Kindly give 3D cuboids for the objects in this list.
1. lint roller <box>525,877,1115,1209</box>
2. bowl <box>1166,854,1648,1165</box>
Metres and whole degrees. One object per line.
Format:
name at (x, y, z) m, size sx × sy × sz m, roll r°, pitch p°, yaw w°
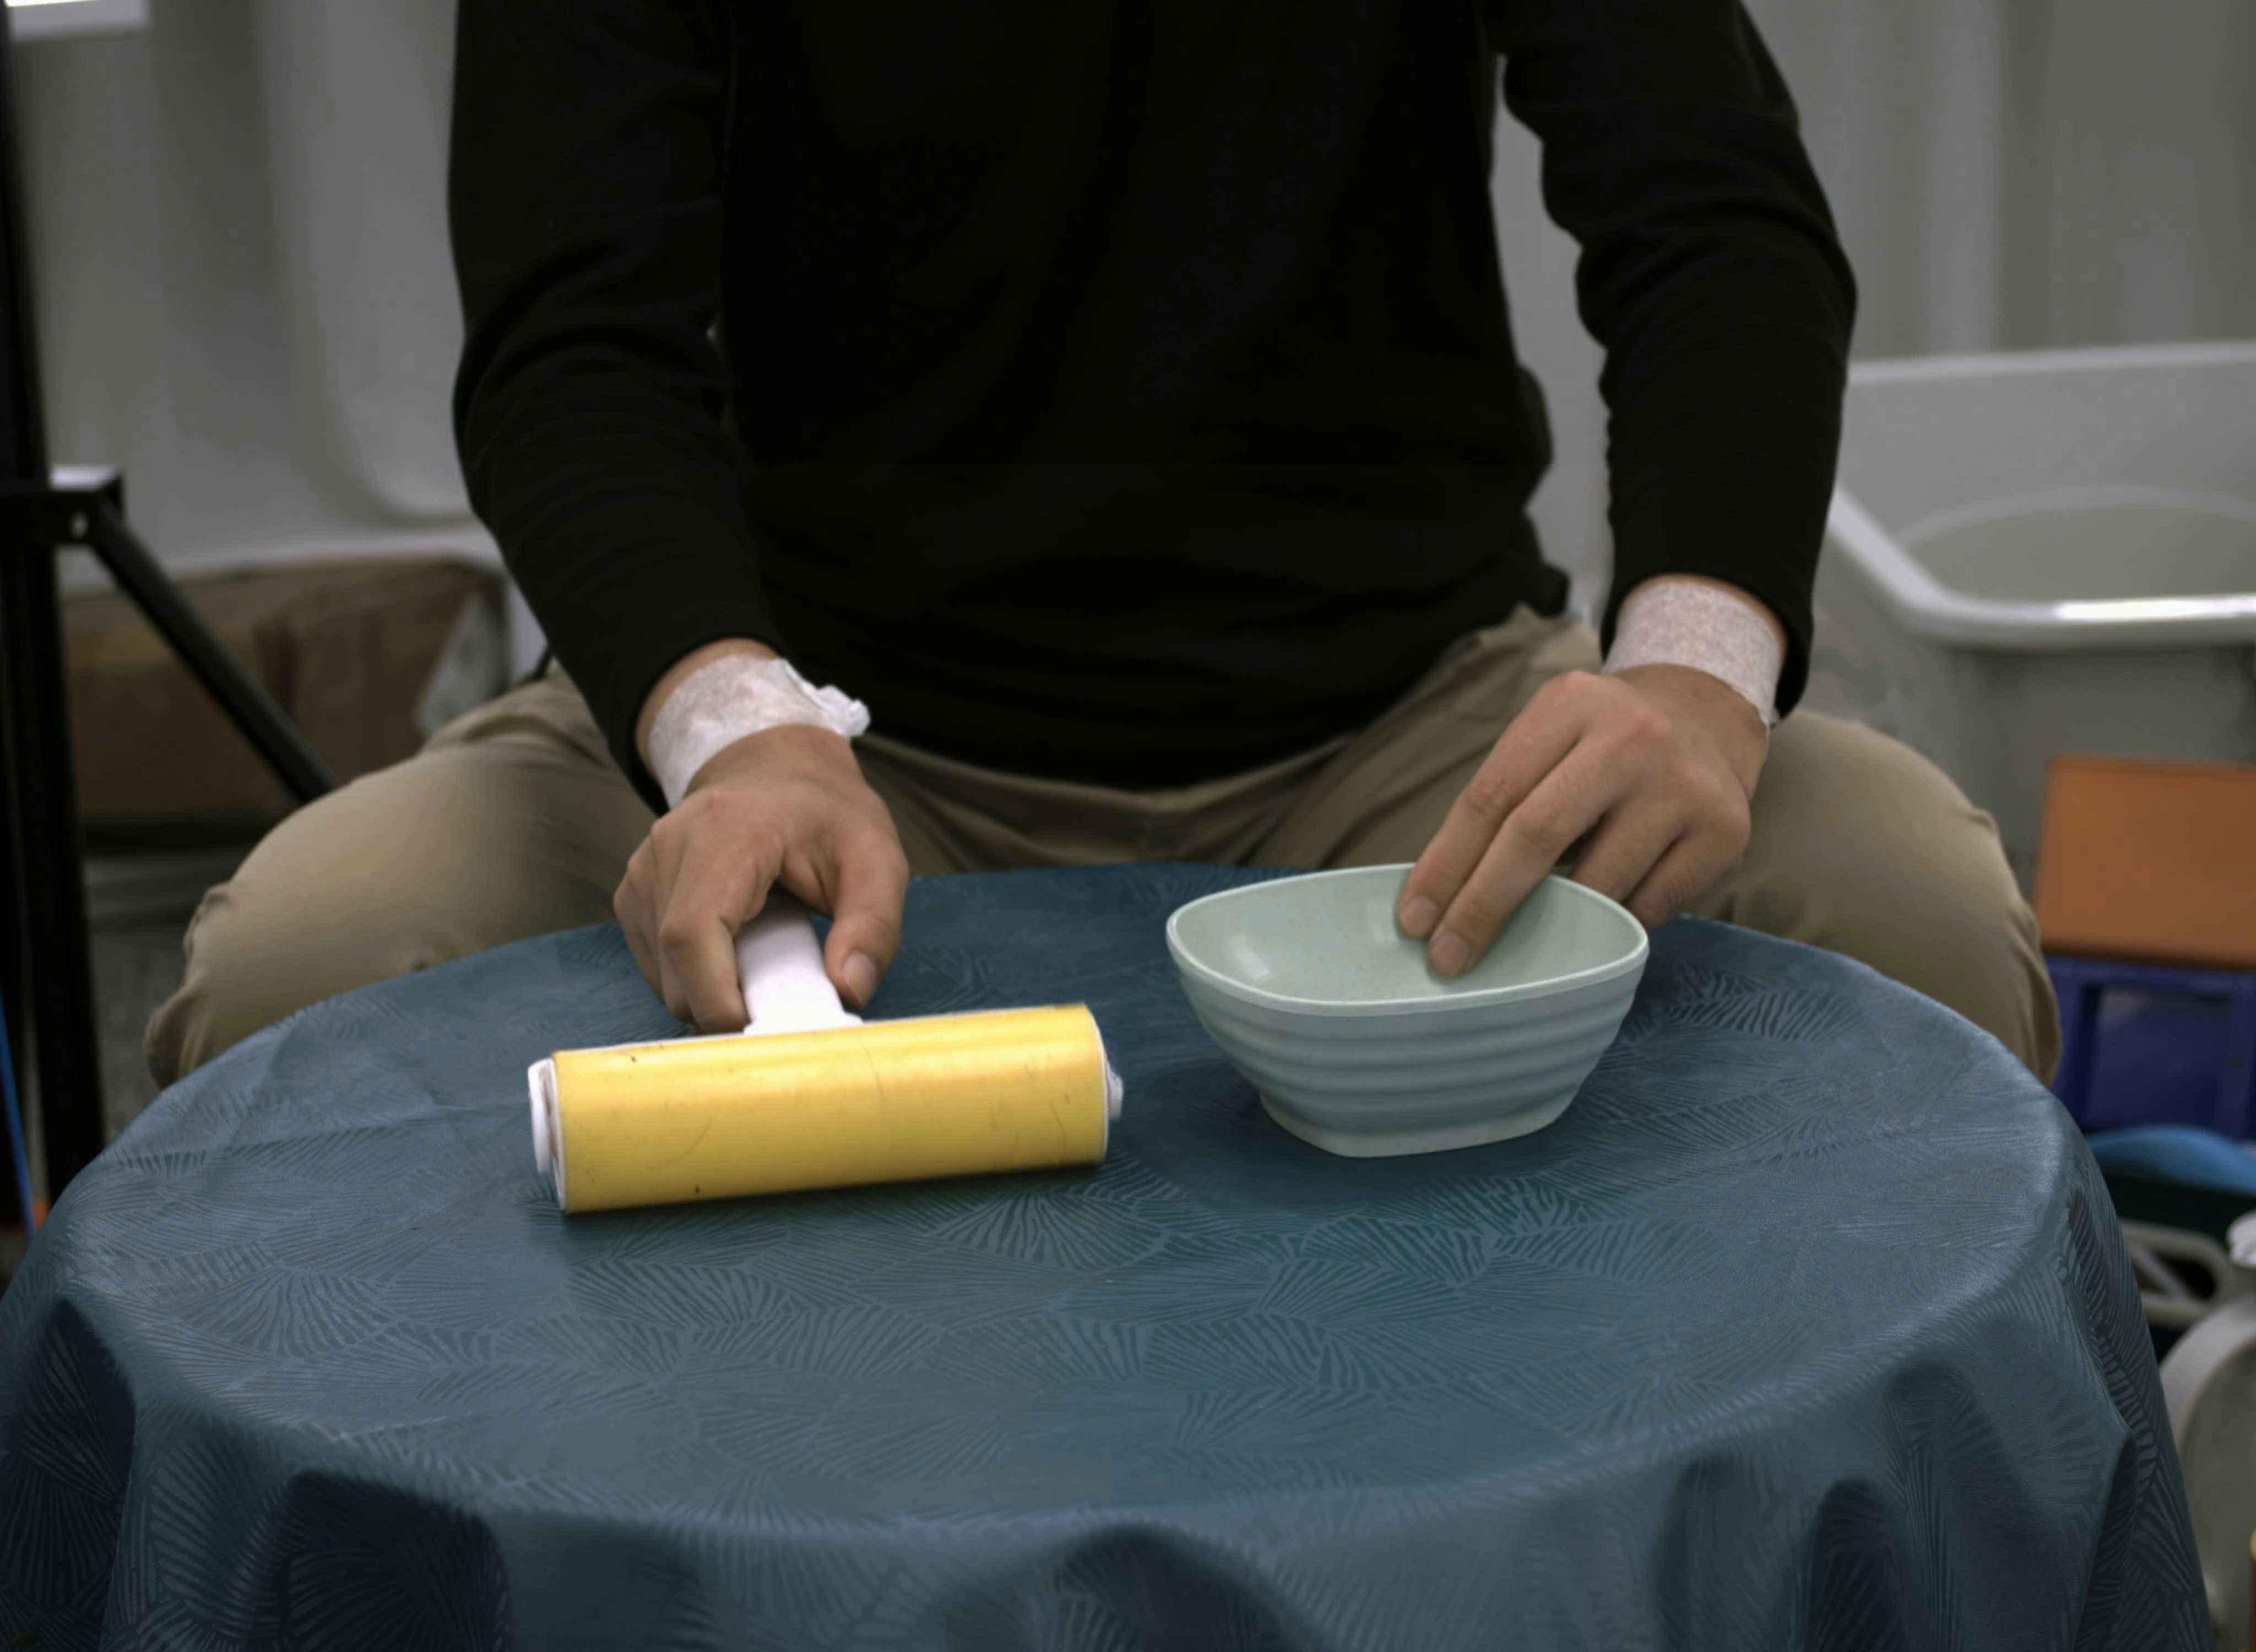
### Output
lint roller at (-0.105, 0.049, 1.632) m, size 0.172 × 0.051 × 0.195 m, roll -6°, pitch 30°, yaw -9°
bowl at (0.085, 0.059, 1.612) m, size 0.151 × 0.058 × 0.152 m, roll -3°, pitch 18°, yaw 0°
